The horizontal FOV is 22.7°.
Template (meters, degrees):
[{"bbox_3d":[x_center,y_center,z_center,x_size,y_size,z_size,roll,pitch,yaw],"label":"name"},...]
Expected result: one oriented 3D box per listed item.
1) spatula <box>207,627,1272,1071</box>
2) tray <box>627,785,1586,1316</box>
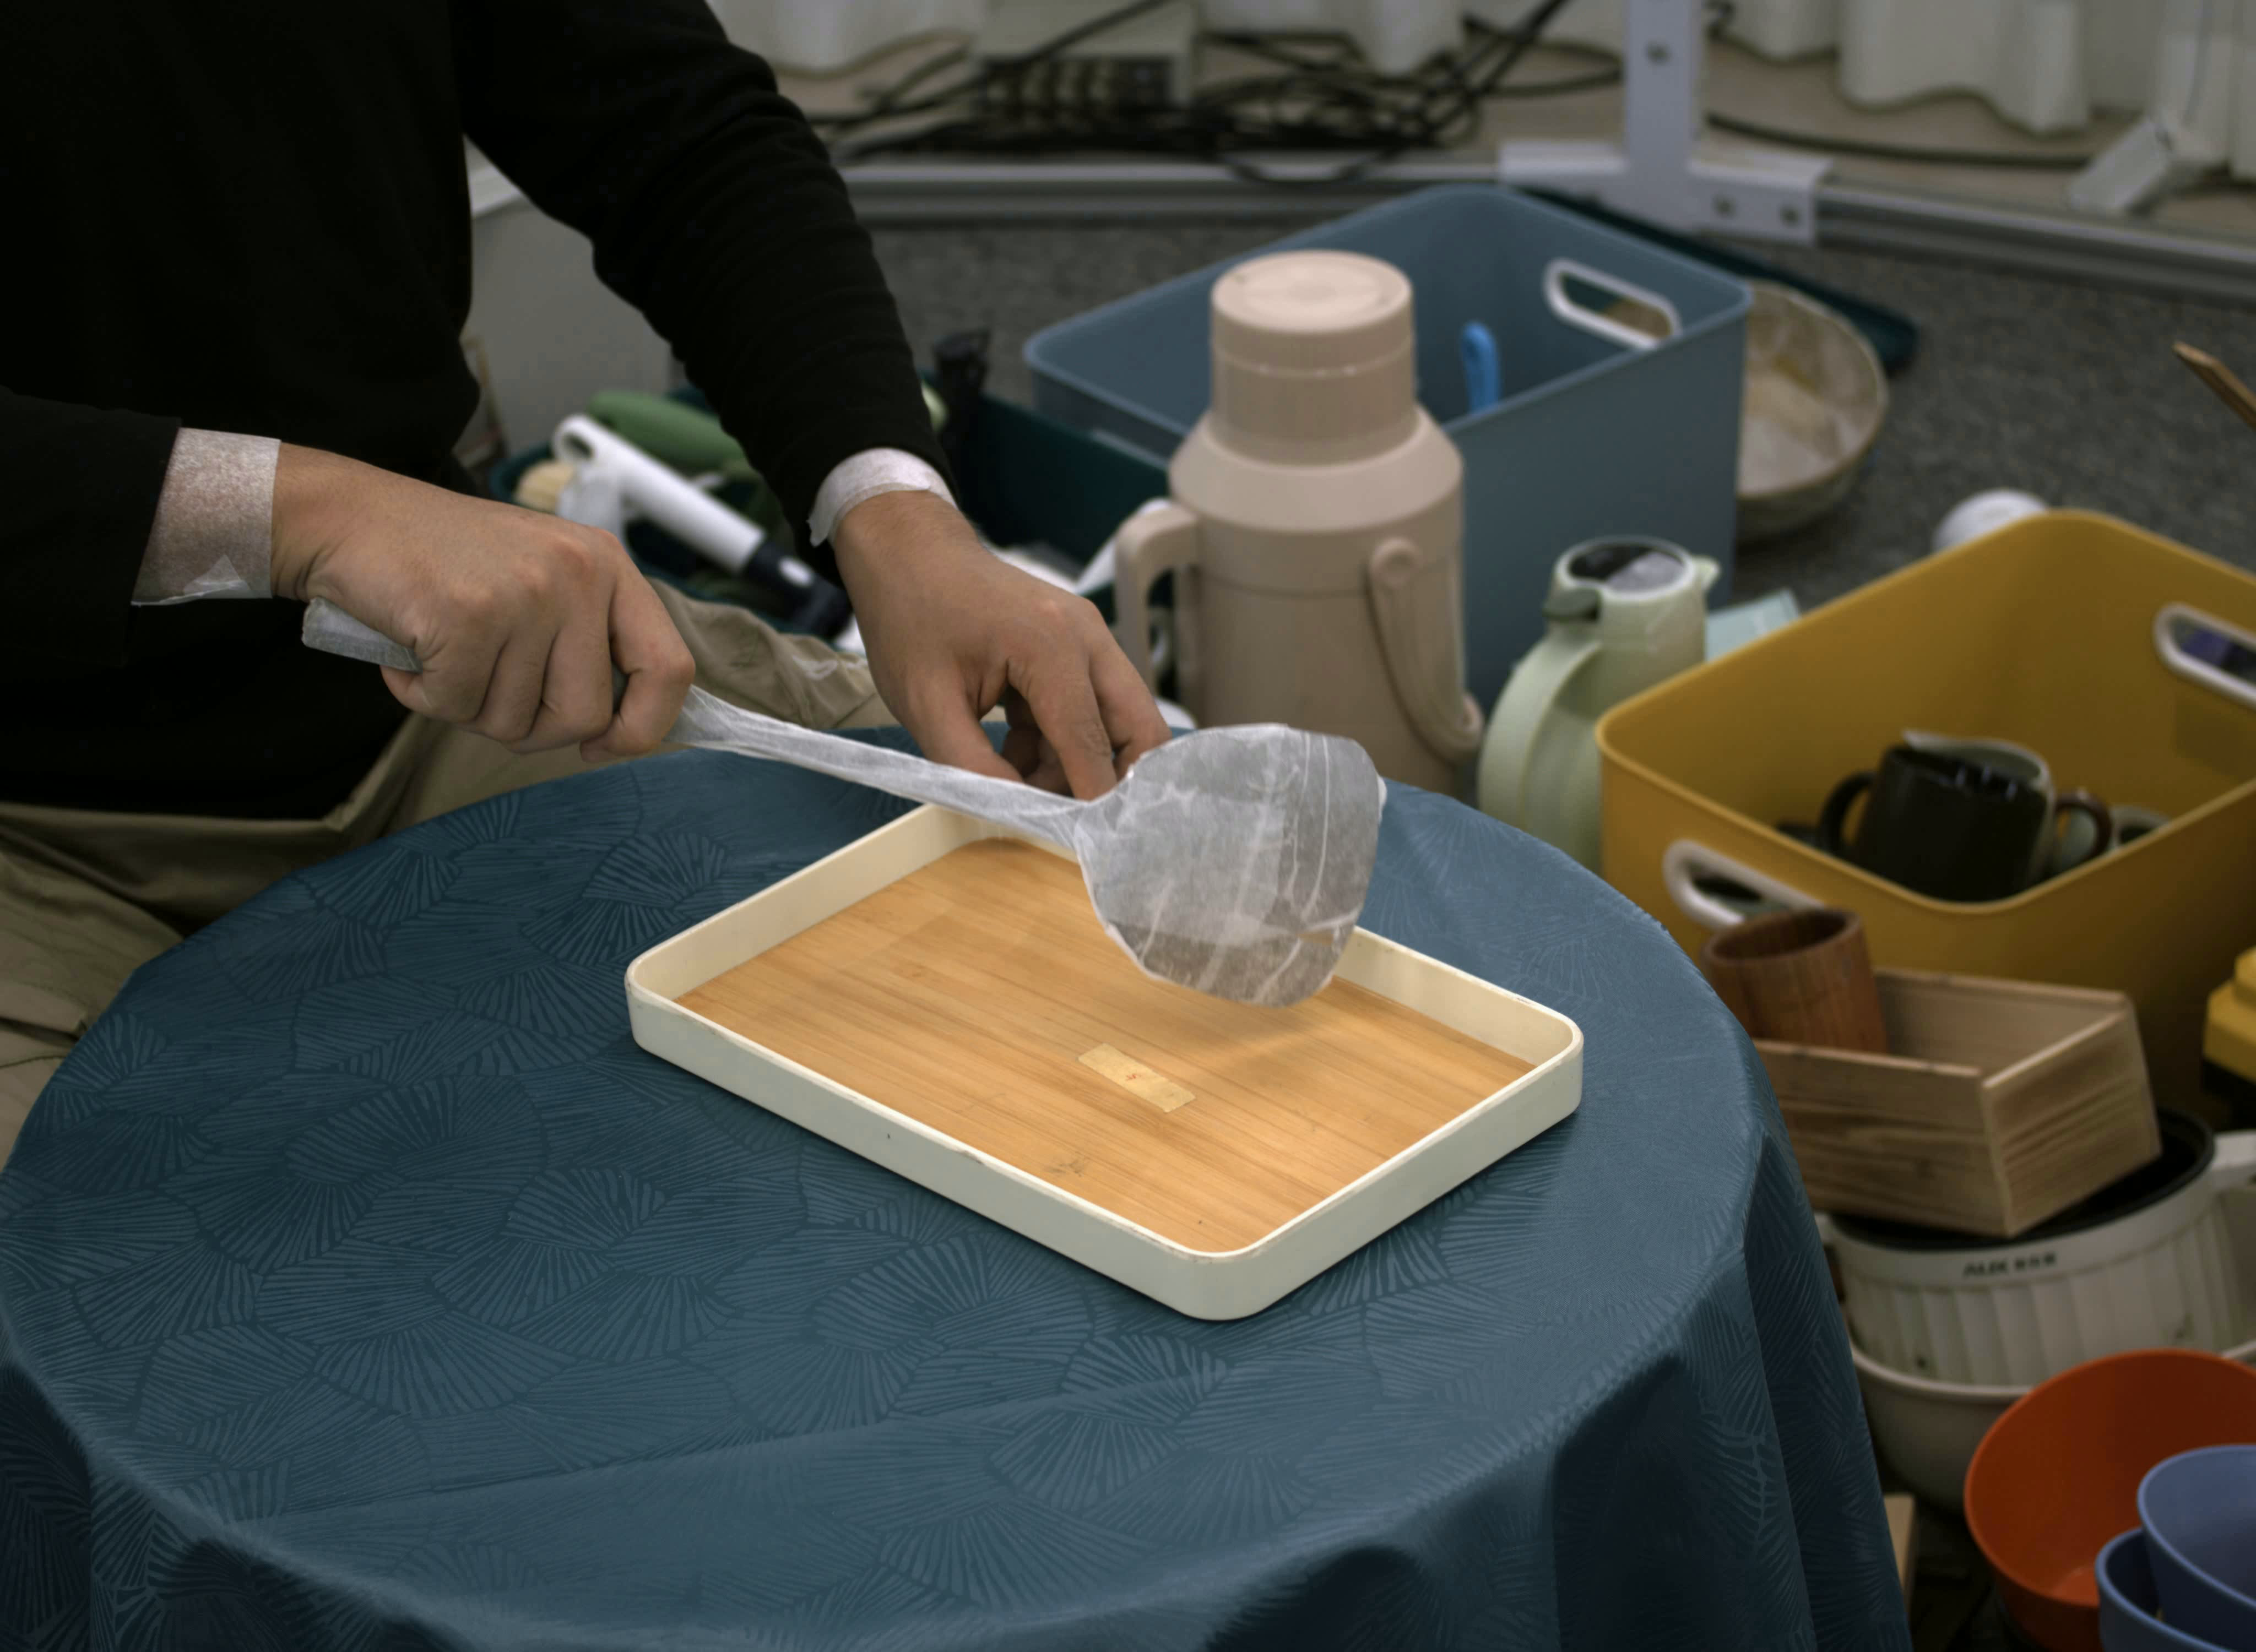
[{"bbox_3d":[-0.129,-0.009,1.884,0.363,0.098,0.045,19,11,-1],"label":"spatula"},{"bbox_3d":[-0.010,0.072,1.927,0.300,0.027,0.194,22,37,40],"label":"tray"}]
